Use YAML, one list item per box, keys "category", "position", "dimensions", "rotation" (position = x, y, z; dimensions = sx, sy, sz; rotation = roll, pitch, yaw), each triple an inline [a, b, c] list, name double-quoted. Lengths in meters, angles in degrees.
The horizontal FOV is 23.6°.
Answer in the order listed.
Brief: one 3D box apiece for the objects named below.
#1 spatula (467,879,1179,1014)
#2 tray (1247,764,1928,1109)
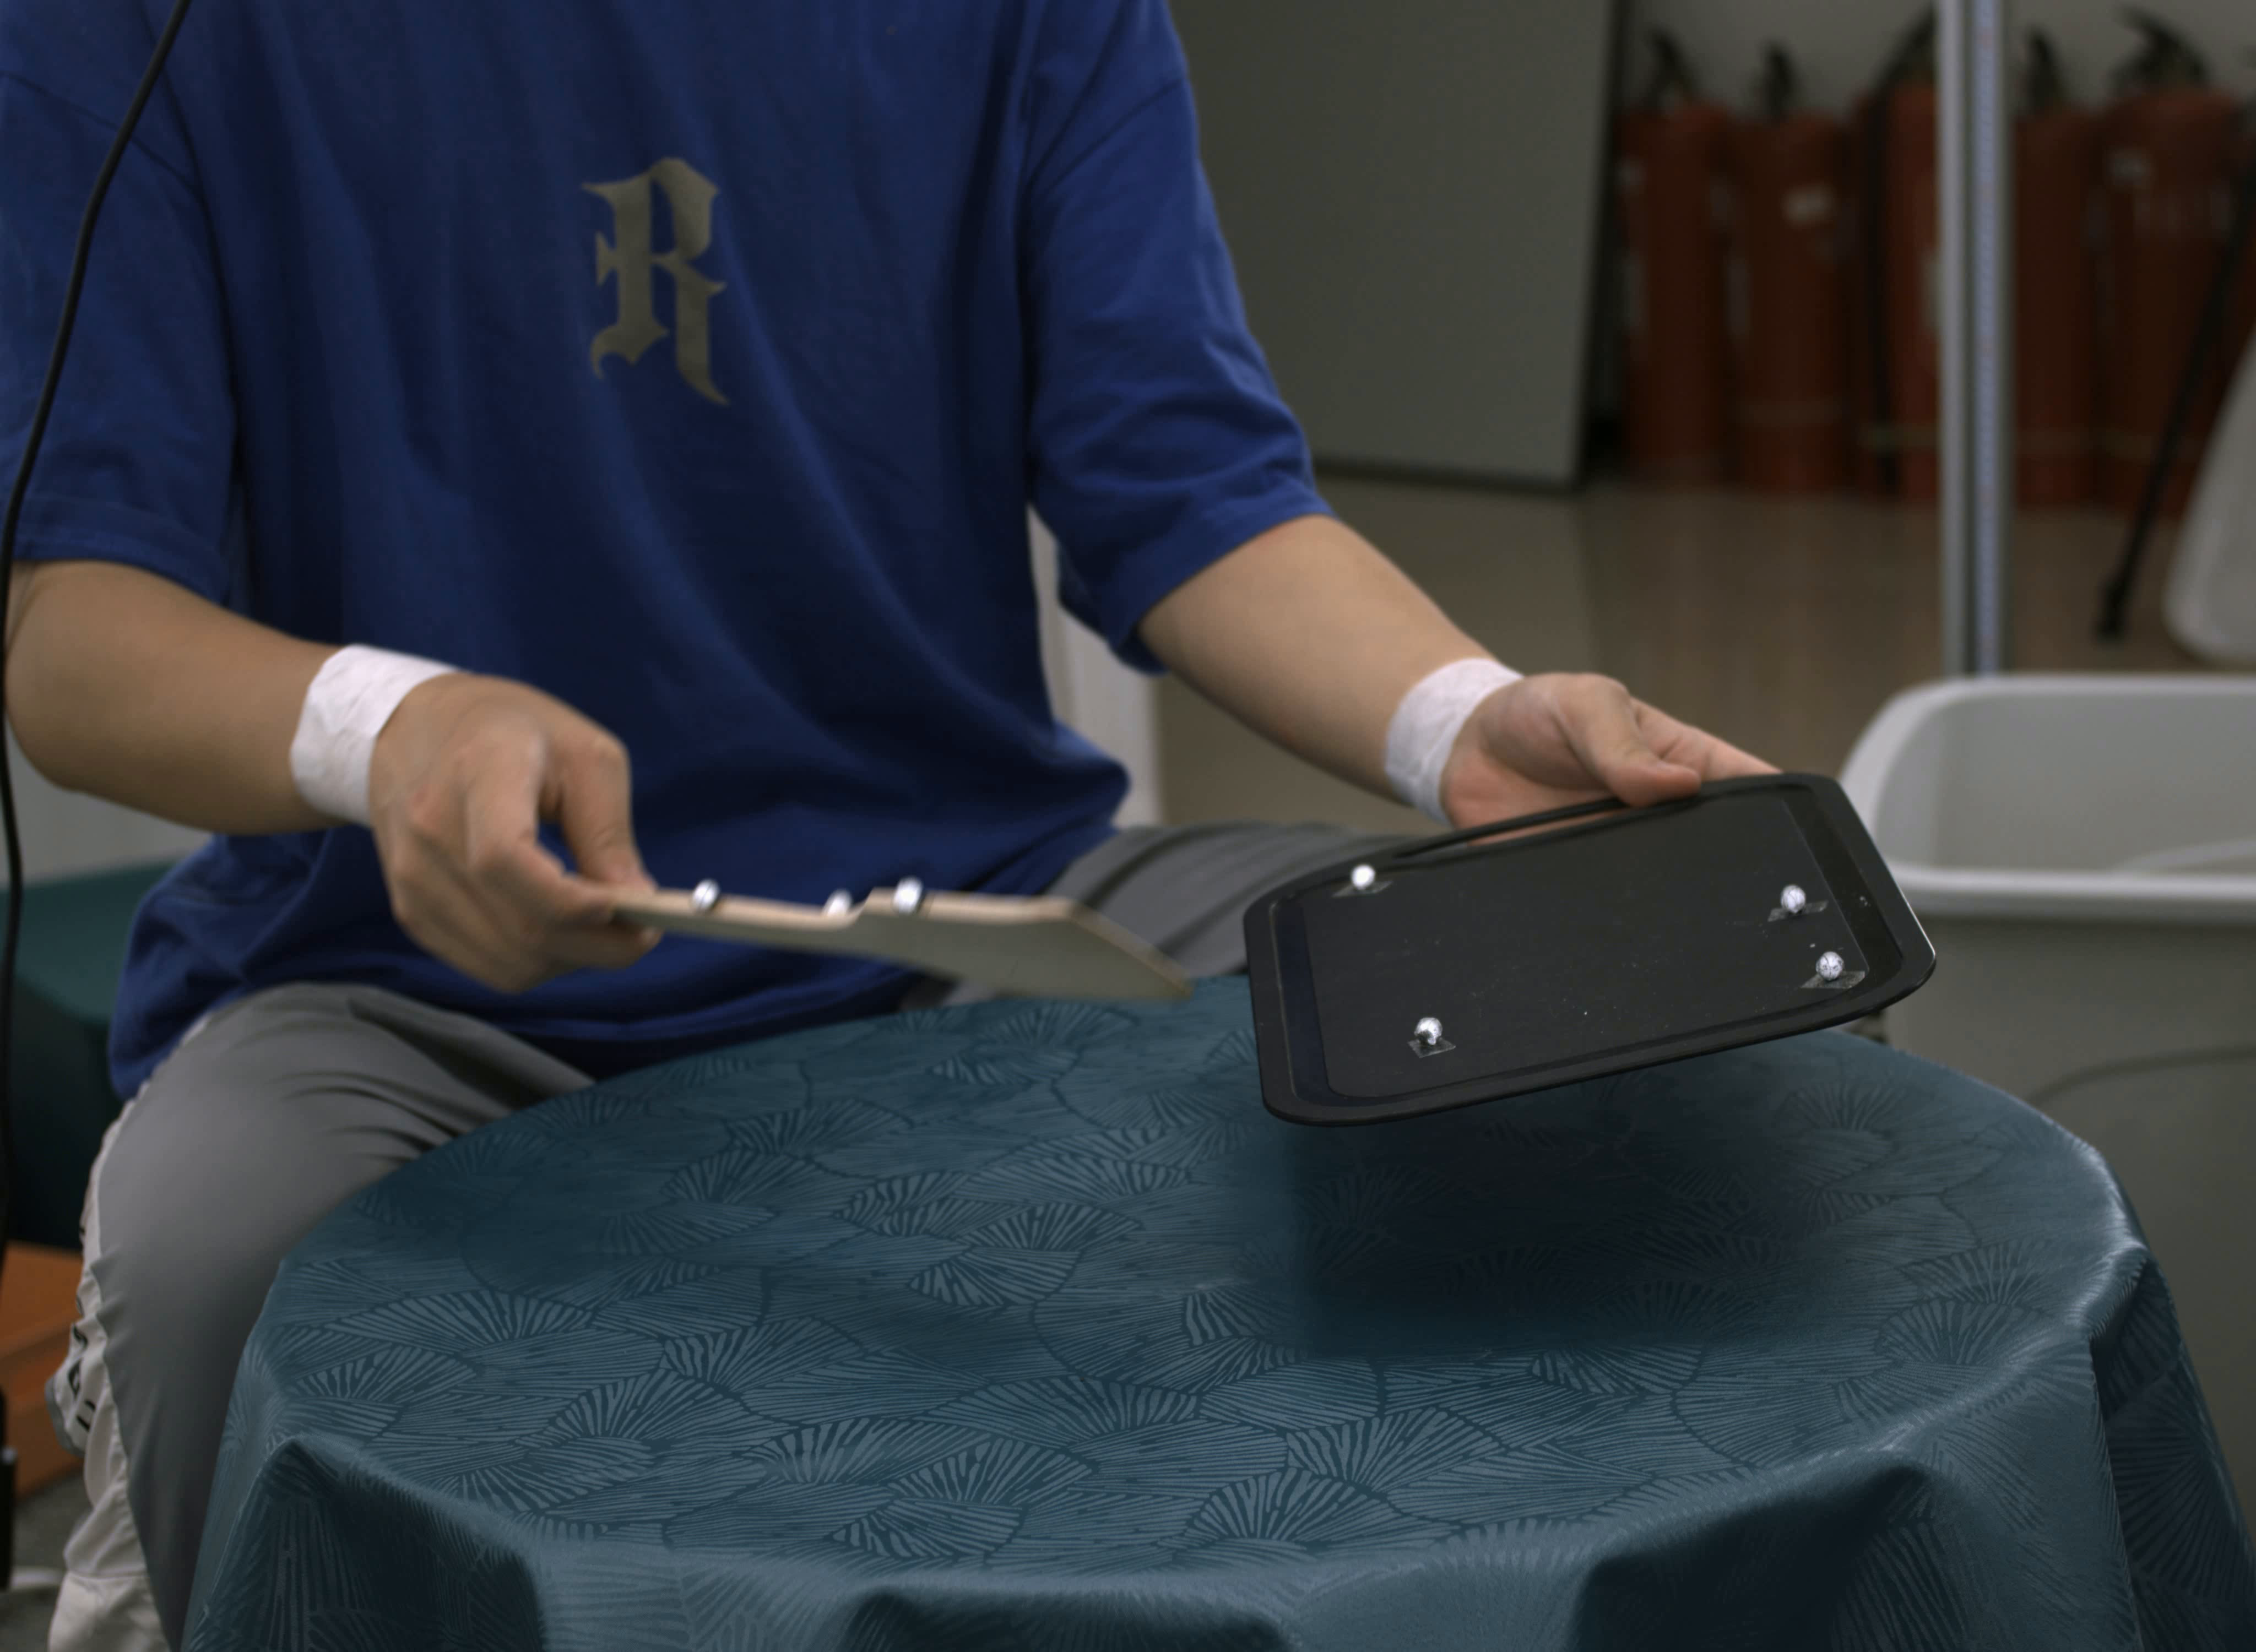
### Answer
- category: "spatula"
  position: [-0.110, 0.034, 1.721]
  dimensions: [0.295, 0.011, 0.071]
  rotation: [5, -20, 43]
- category: "tray"
  position: [0.140, 0.029, 1.738]
  dimensions: [0.209, 0.010, 0.325]
  rotation: [-13, 13, 4]
